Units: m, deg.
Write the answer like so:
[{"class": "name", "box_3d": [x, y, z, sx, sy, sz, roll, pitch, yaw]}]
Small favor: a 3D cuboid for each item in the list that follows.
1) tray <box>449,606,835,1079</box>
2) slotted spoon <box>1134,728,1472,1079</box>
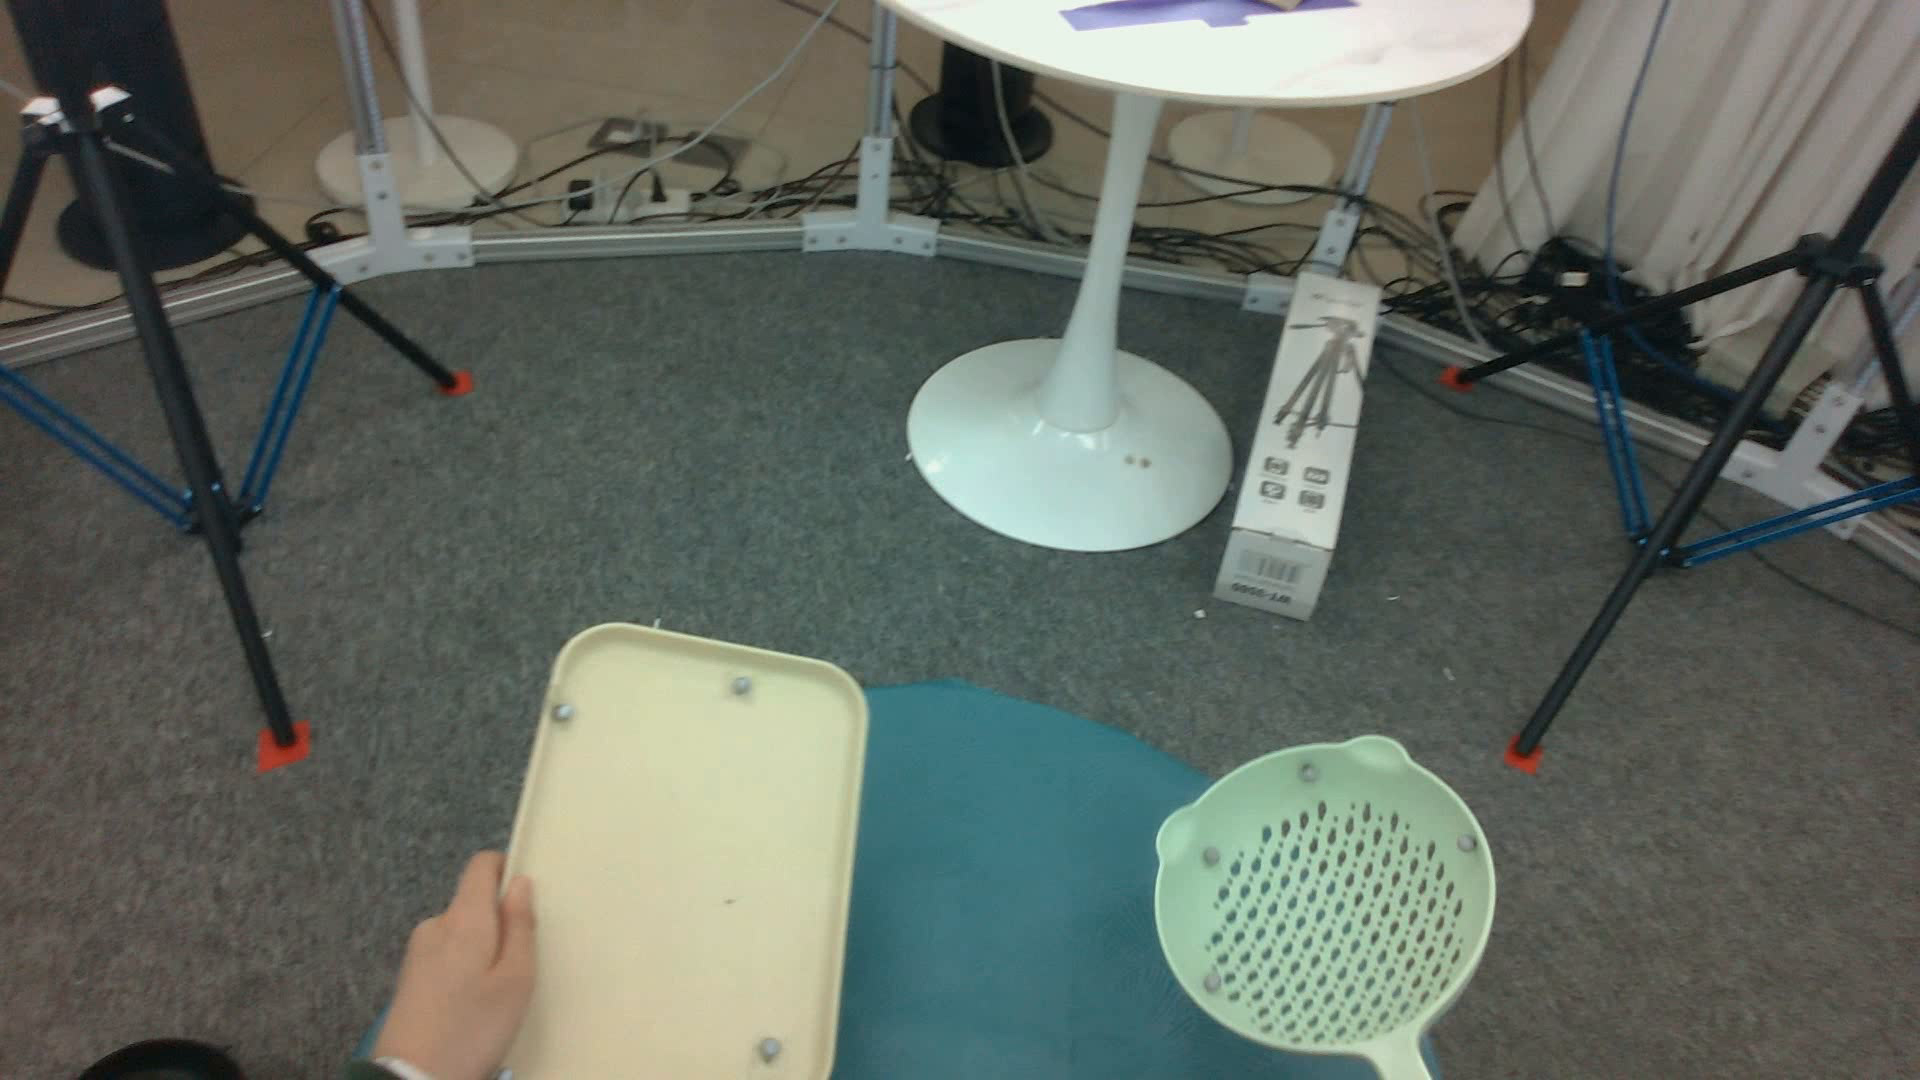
[{"class": "tray", "box_3d": [-0.151, 0.152, 0.694, 0.171, 0.017, 0.240, 13, 57, -18]}, {"class": "slotted spoon", "box_3d": [0.192, 0.235, 0.627, 0.169, 0.075, 0.360, -26, 30, 7]}]
